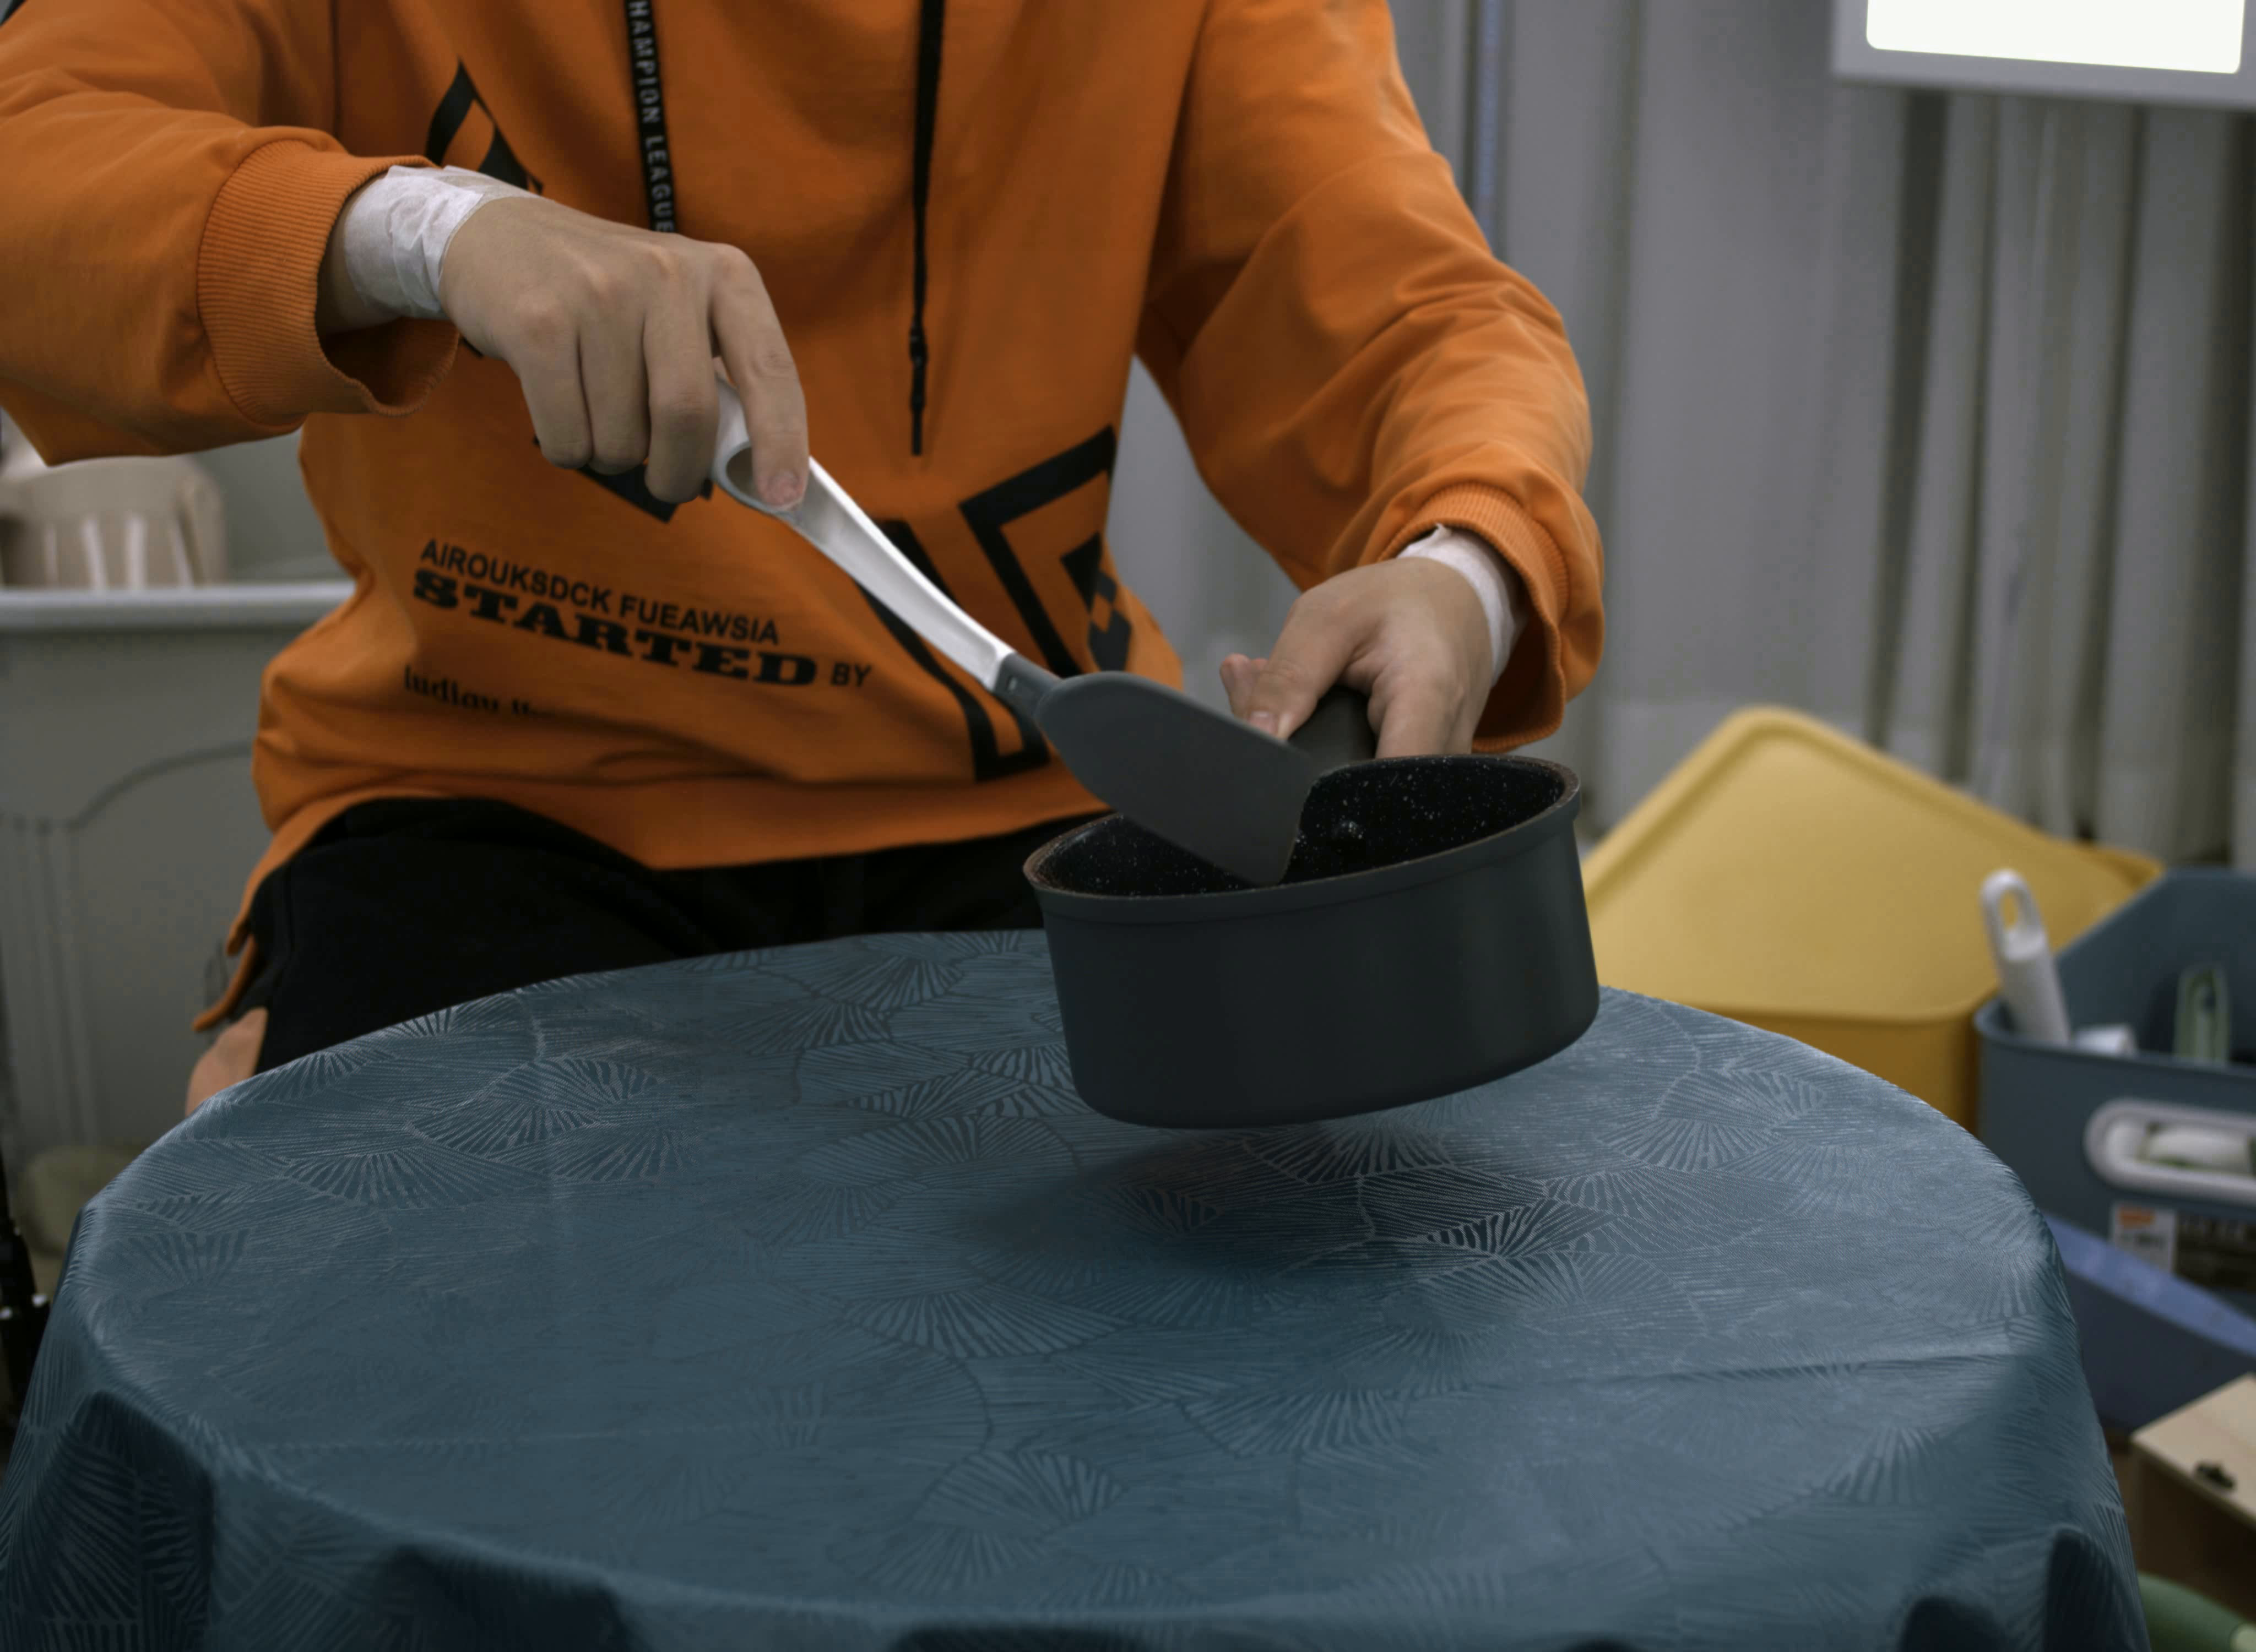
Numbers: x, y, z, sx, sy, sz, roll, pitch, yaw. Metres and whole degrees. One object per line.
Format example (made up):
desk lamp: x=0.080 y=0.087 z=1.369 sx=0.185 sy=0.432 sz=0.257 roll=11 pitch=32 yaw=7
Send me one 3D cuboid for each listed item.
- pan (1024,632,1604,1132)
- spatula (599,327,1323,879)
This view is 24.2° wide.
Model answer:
pan: x=0.066 y=0.014 z=1.674 sx=0.171 sy=0.087 sz=0.328 roll=-7 pitch=13 yaw=8
spatula: x=-0.056 y=-0.070 z=1.638 sx=0.284 sy=0.059 sz=0.032 roll=36 pitch=34 yaw=24
